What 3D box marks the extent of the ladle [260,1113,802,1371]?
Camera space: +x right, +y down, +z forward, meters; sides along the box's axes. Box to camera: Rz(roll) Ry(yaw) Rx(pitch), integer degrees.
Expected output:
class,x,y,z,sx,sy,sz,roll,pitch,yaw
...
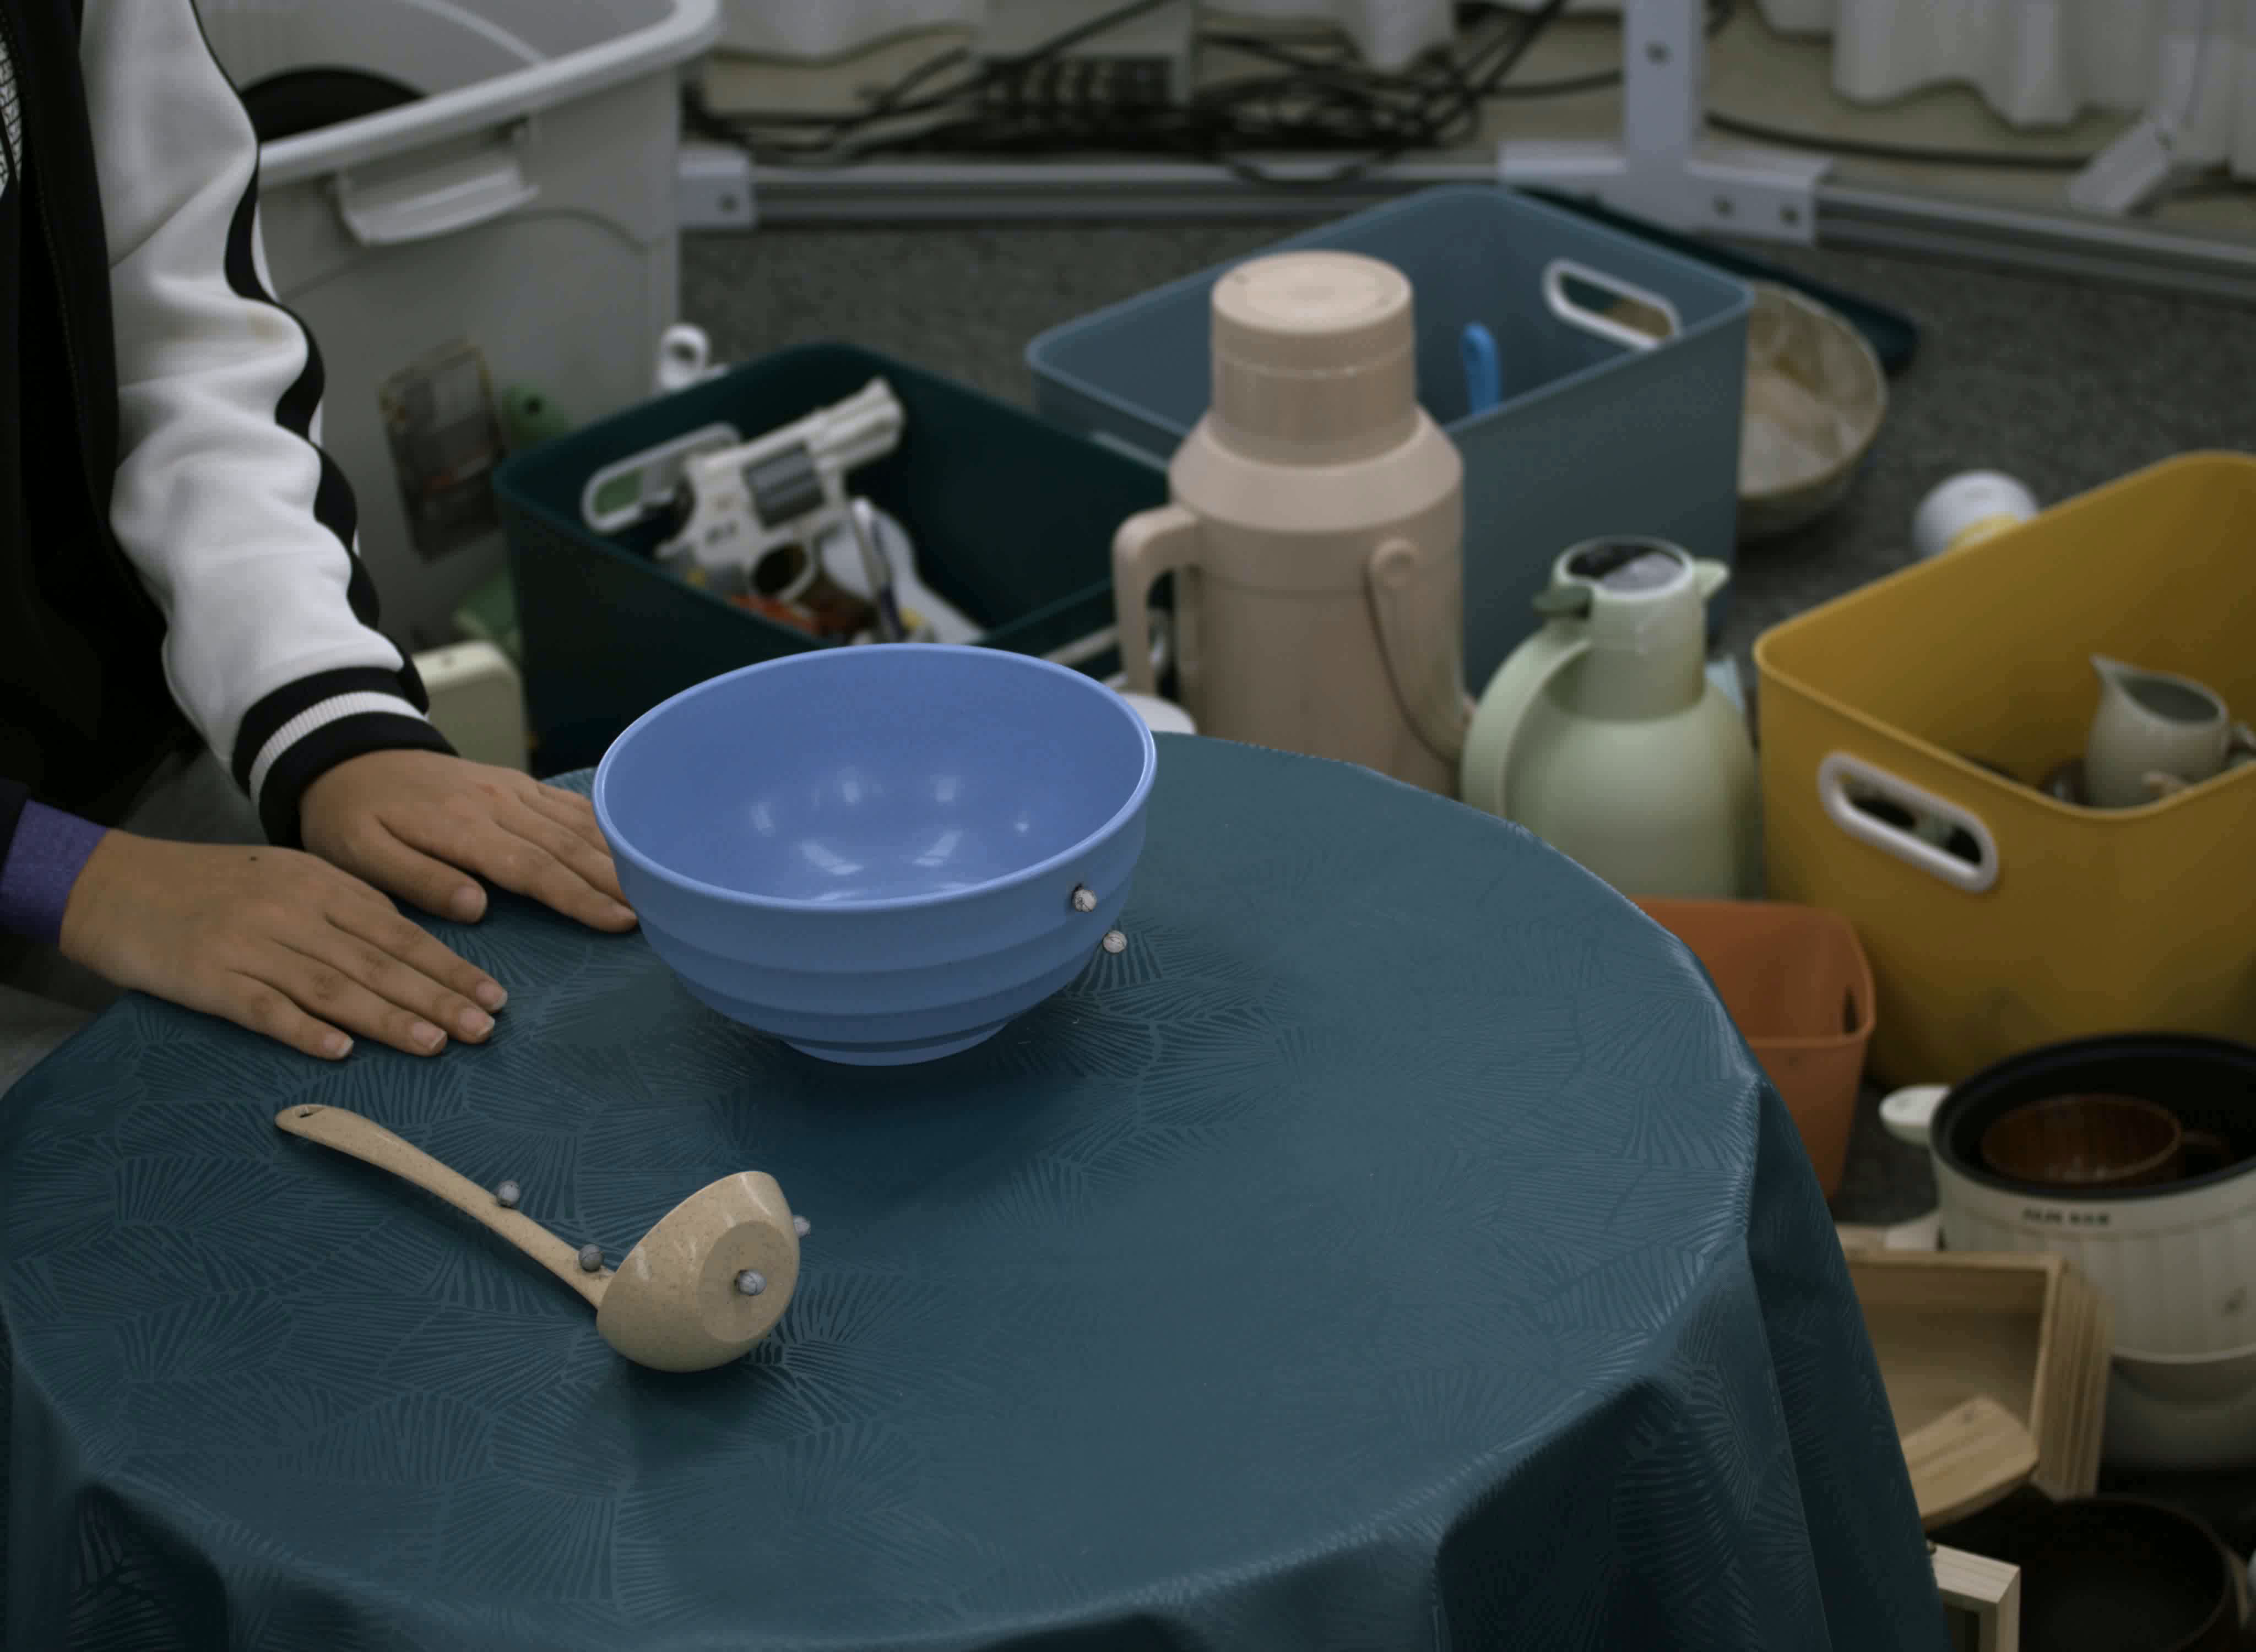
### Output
class,x,y,z,sx,sy,sz,roll,pitch,yaw
ladle,-0.206,0.108,1.829,0.254,0.072,0.073,22,35,40

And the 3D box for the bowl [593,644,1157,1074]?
class,x,y,z,sx,sy,sz,roll,pitch,yaw
bowl,-0.084,0.023,1.964,0.195,0.094,0.199,-3,28,2
